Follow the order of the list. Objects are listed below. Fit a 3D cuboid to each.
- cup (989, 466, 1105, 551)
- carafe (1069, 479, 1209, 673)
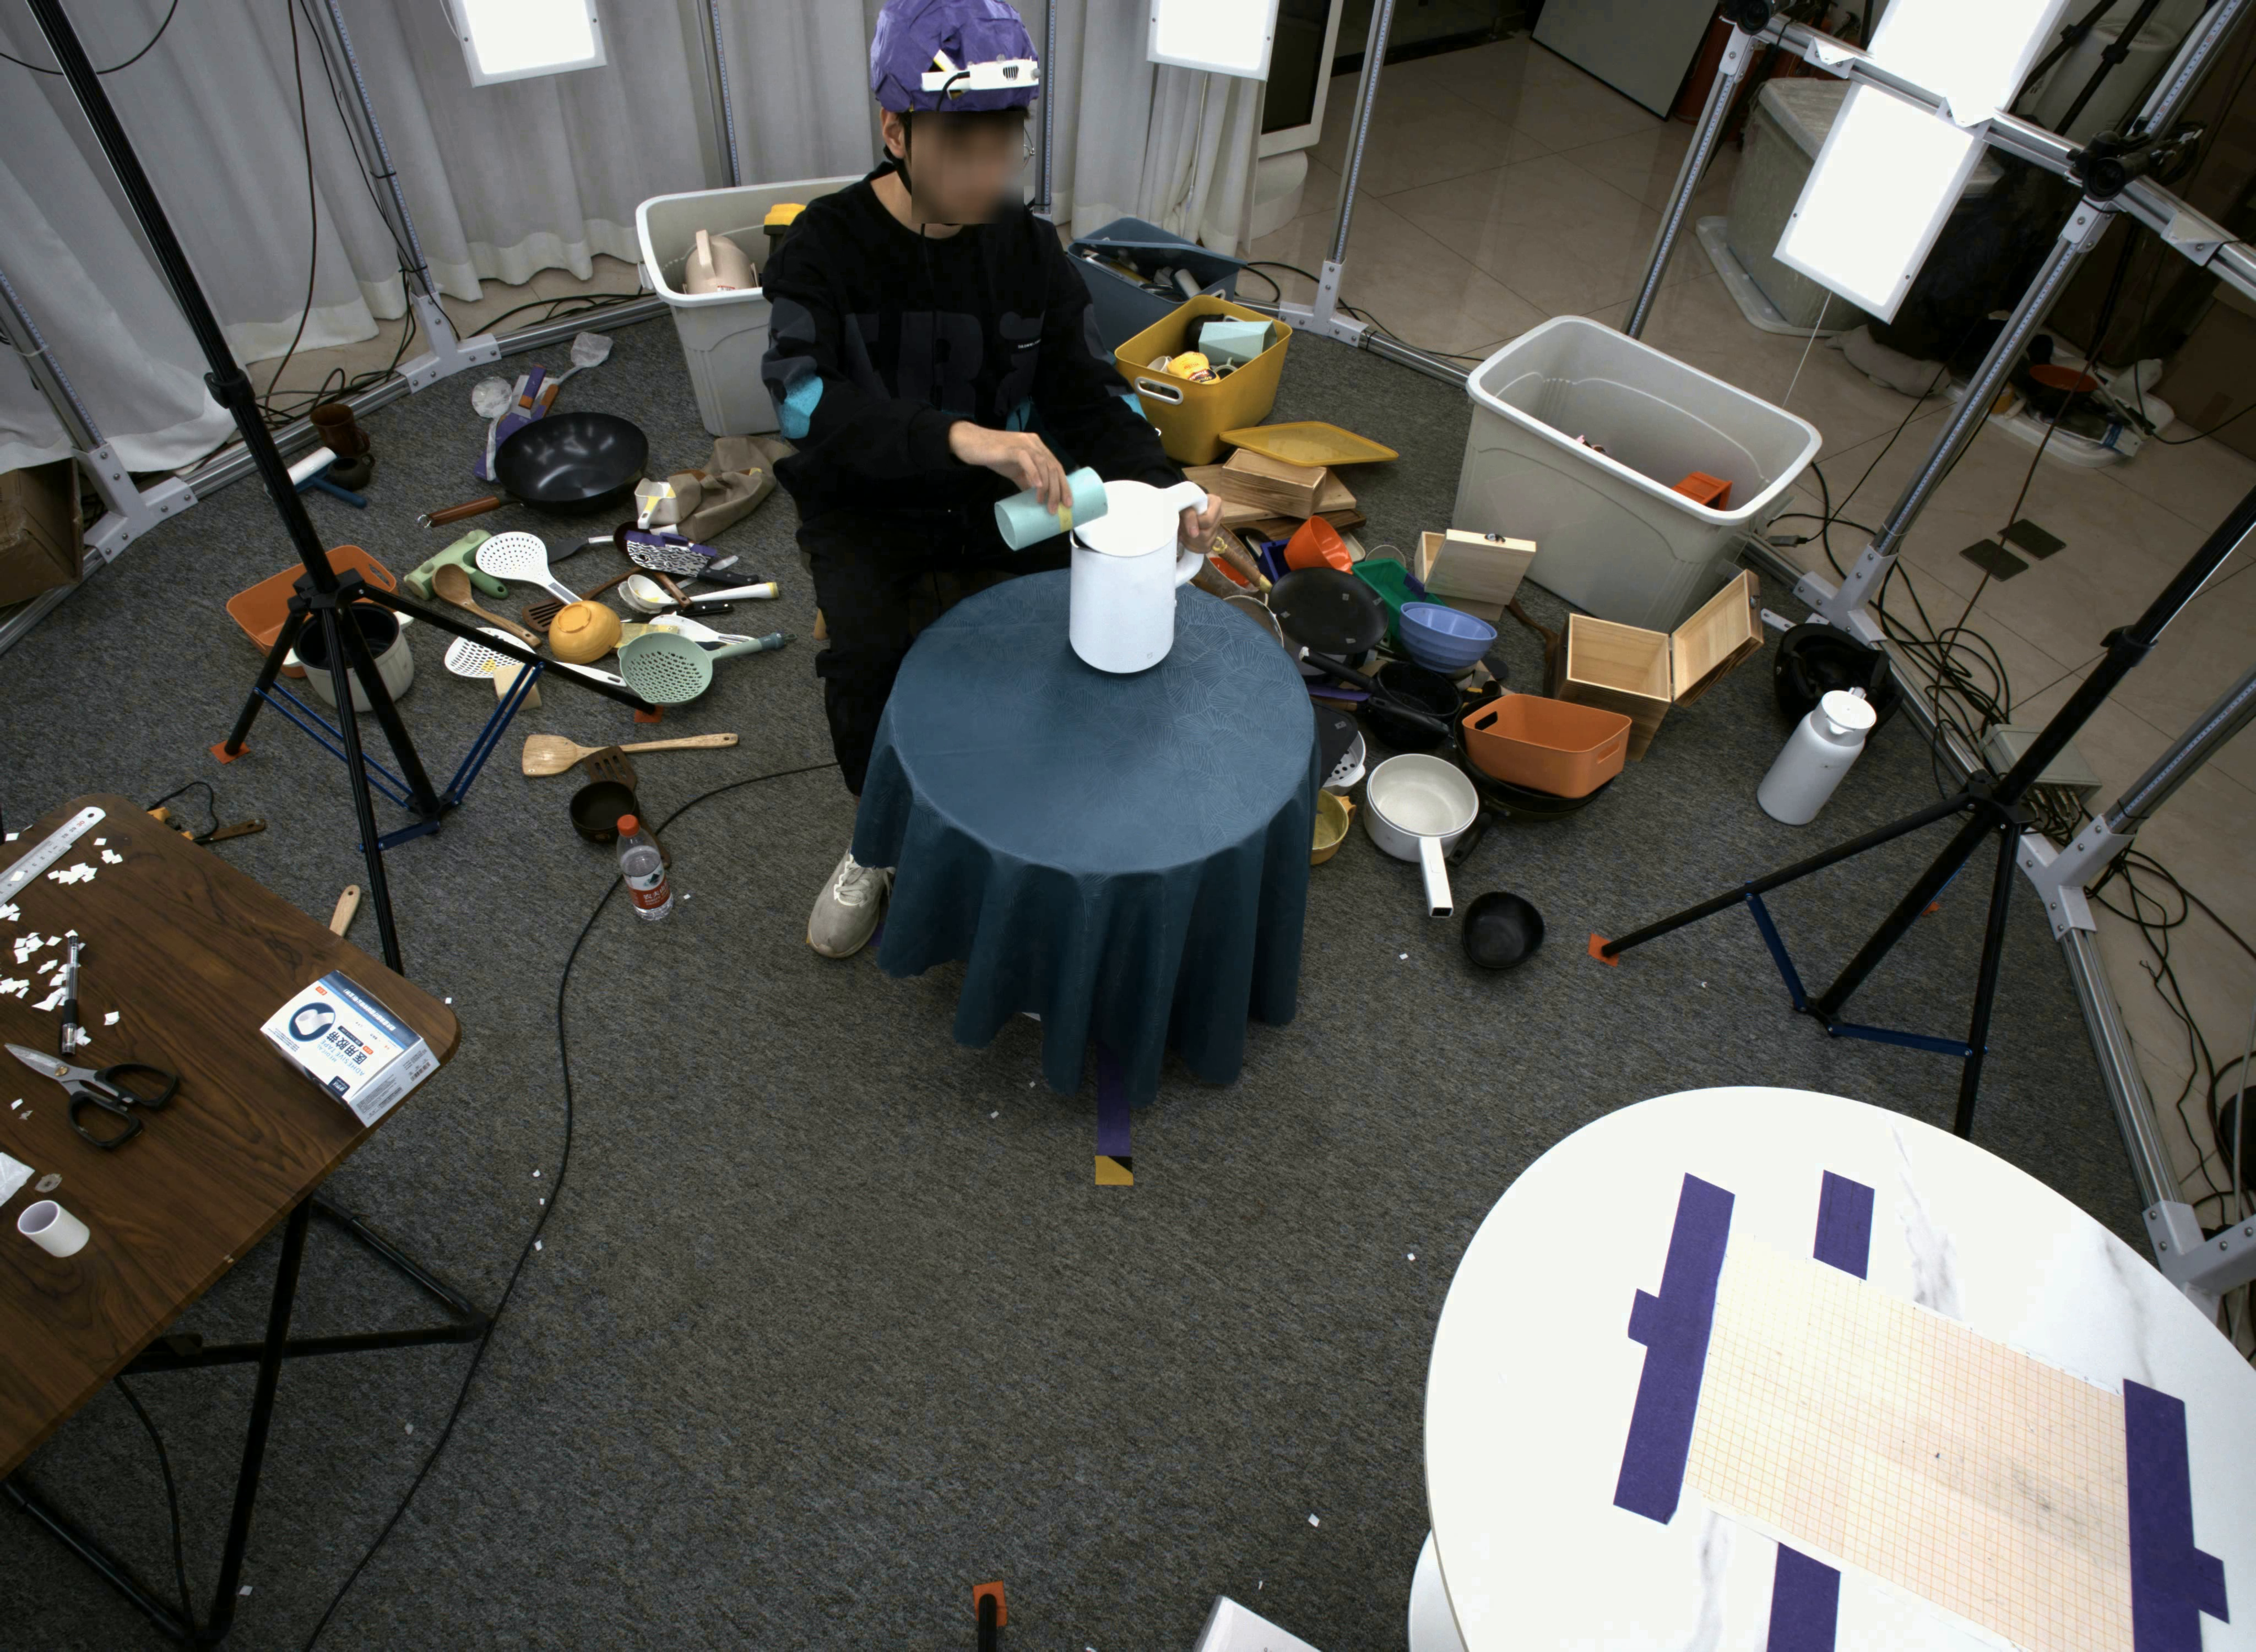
[{"bbox_3d":[-0.102,-0.400,1.622,0.132,0.065,0.068,-25,55,-13],"label":"cup"},{"bbox_3d":[0.017,-0.357,1.801,0.214,0.234,0.155,-28,61,-18],"label":"carafe"}]
